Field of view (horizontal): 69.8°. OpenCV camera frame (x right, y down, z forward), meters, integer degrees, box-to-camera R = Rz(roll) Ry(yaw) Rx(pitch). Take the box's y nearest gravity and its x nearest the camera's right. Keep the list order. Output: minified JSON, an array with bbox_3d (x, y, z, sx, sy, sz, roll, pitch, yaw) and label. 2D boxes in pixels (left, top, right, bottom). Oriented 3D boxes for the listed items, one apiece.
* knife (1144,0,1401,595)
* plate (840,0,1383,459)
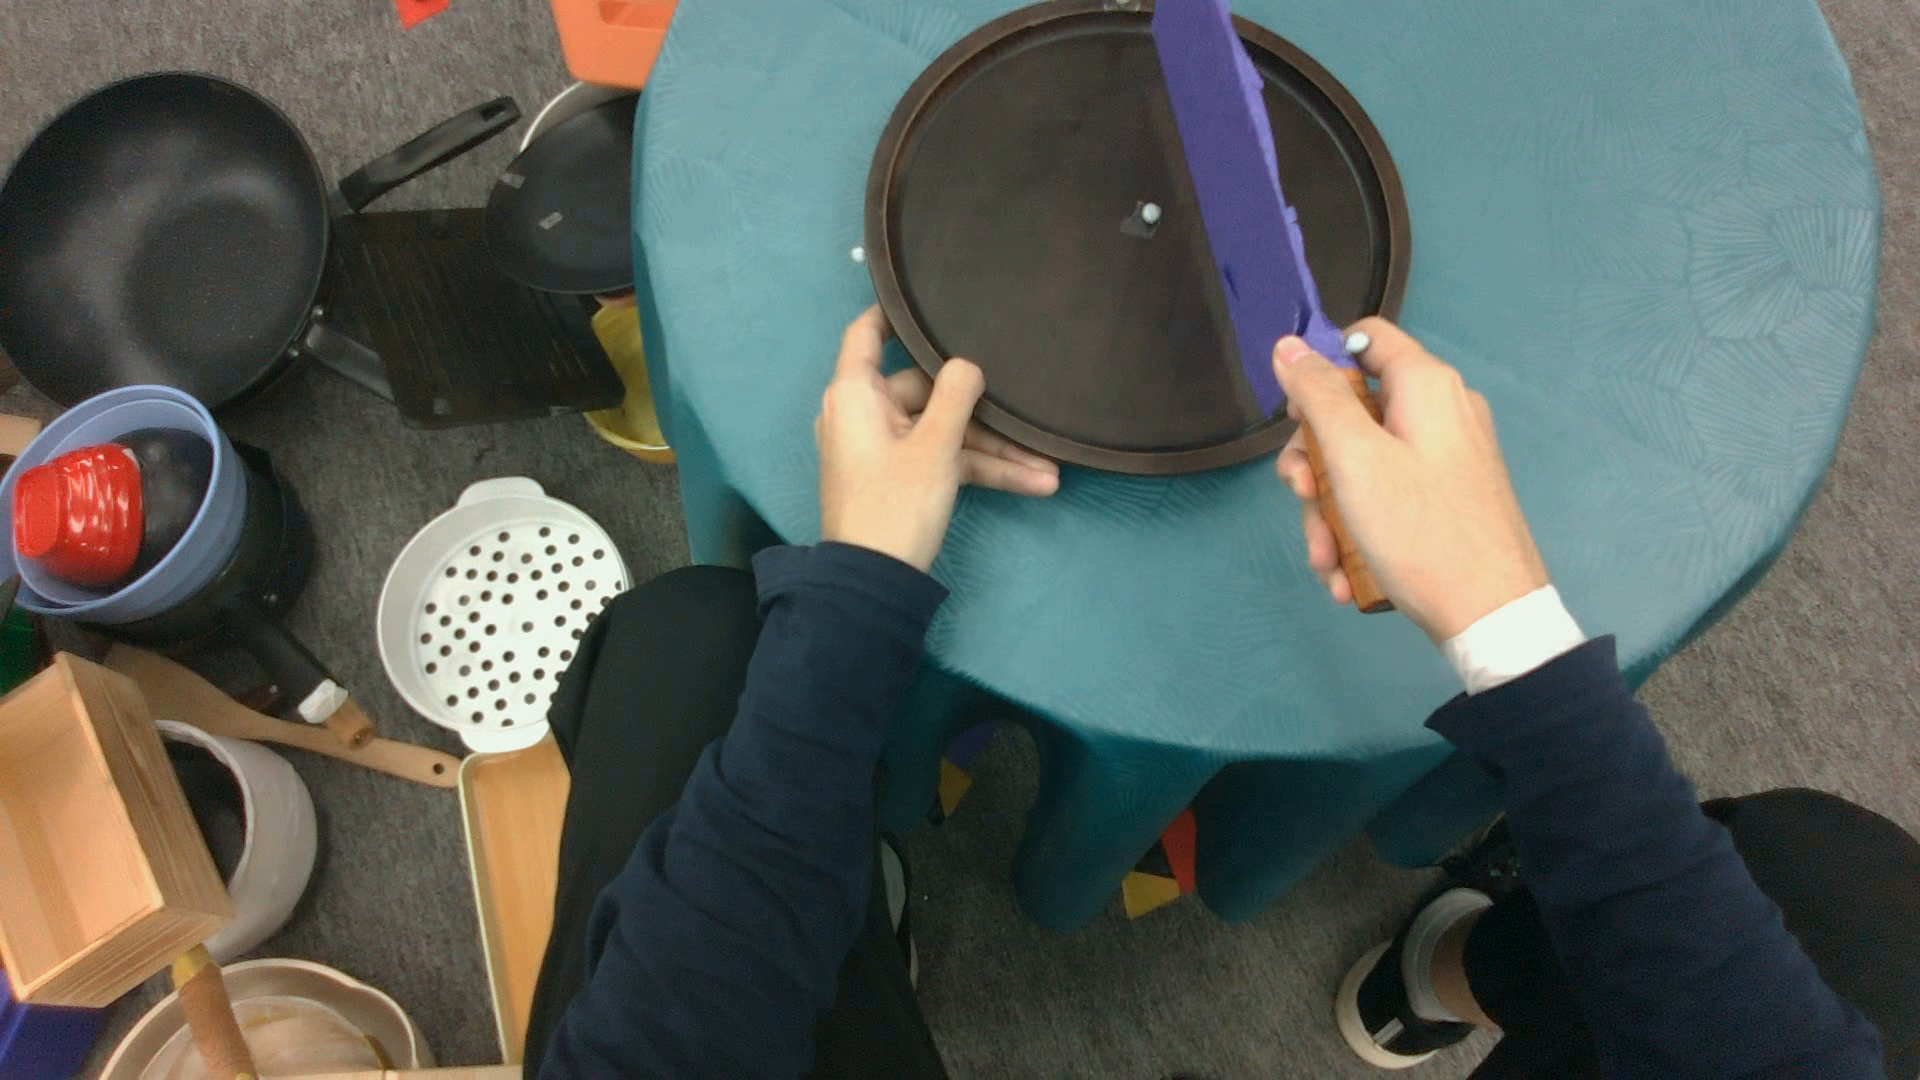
[{"bbox_3d":[0.121,-0.125,0.572,0.032,0.103,0.316,-9,75,-4],"label":"knife"},{"bbox_3d":[0.071,-0.154,0.642,0.255,0.029,0.255,1,70,-3],"label":"plate"}]
